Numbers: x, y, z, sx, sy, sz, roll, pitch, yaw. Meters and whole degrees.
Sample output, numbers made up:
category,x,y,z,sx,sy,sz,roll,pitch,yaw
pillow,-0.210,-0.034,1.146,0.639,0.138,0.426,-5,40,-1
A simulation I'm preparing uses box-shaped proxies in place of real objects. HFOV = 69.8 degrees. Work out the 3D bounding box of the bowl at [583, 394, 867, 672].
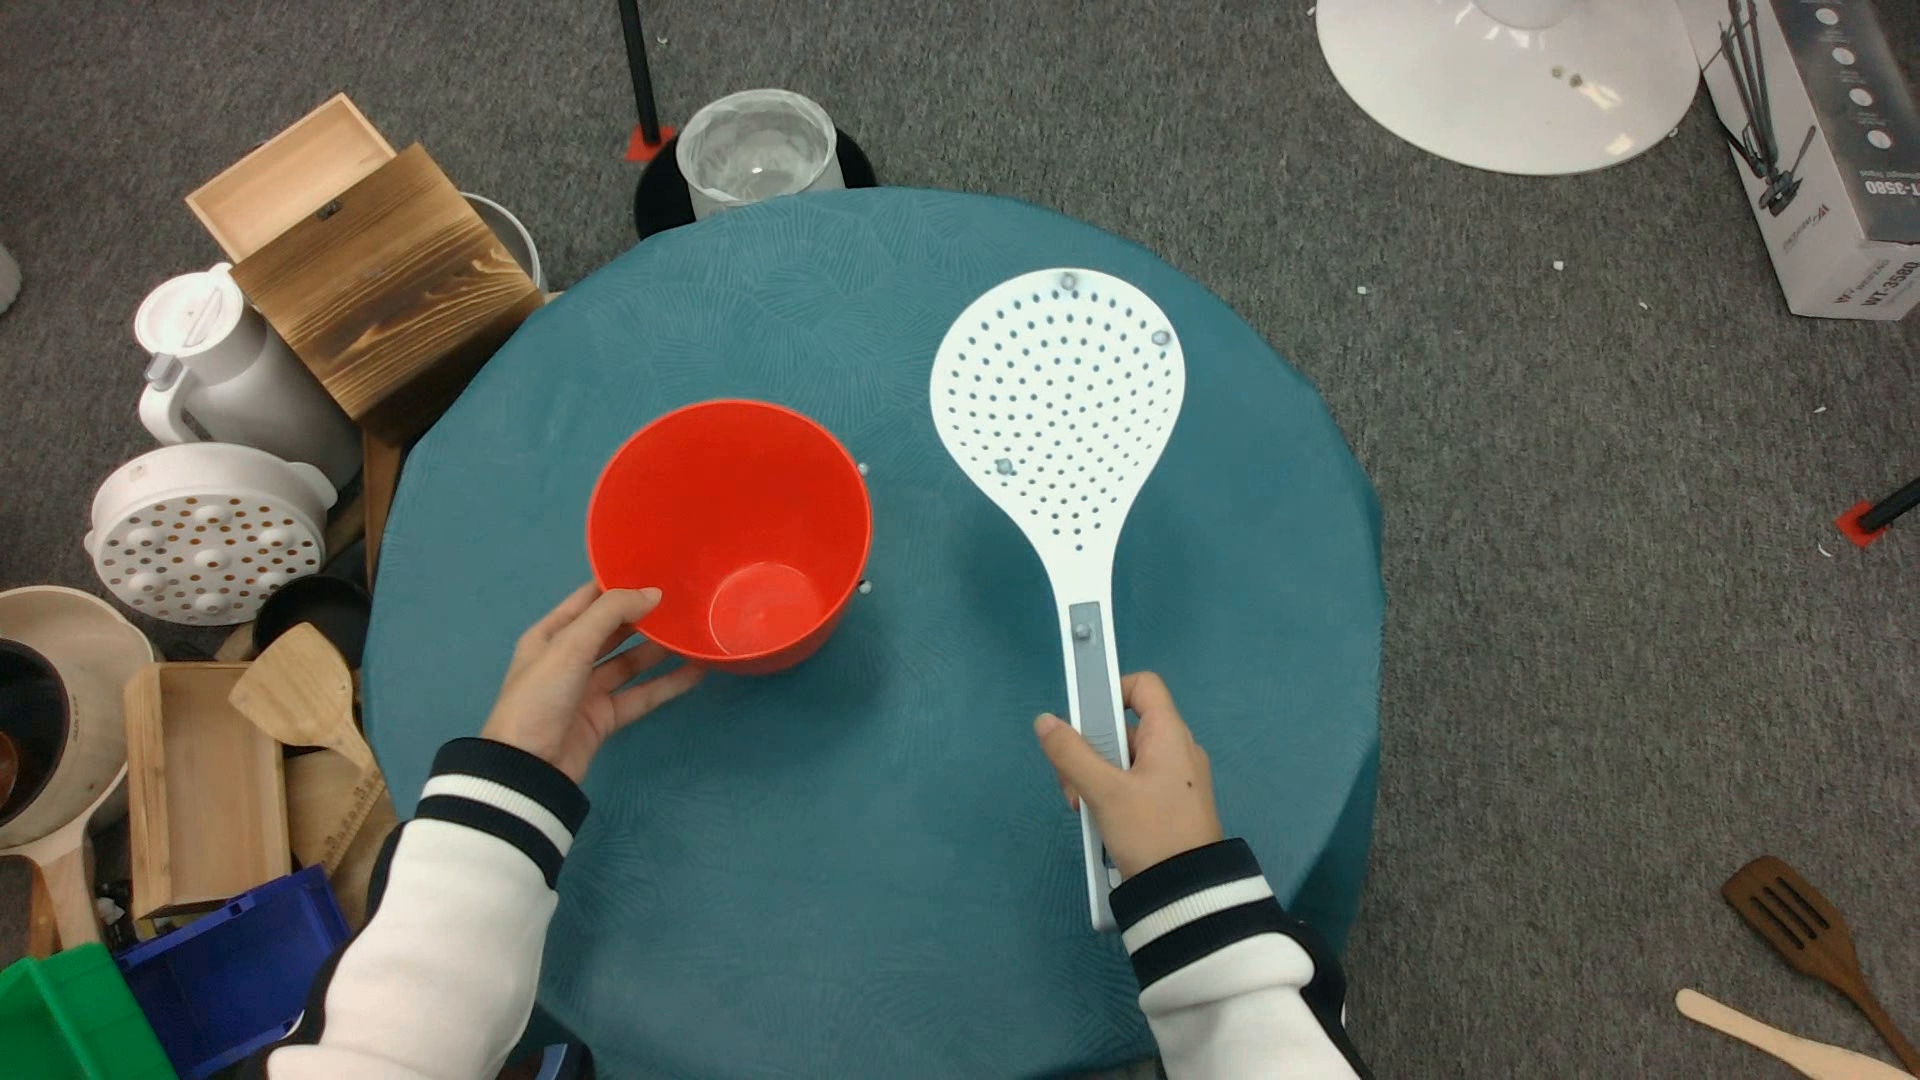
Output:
category,x,y,z,sx,sy,sz,roll,pitch,yaw
bowl,-0.123,0.009,0.757,0.148,0.104,0.148,1,58,-1

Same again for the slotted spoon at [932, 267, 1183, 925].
category,x,y,z,sx,sy,sz,roll,pitch,yaw
slotted spoon,0.060,0.015,0.700,0.136,0.045,0.351,-8,62,9
